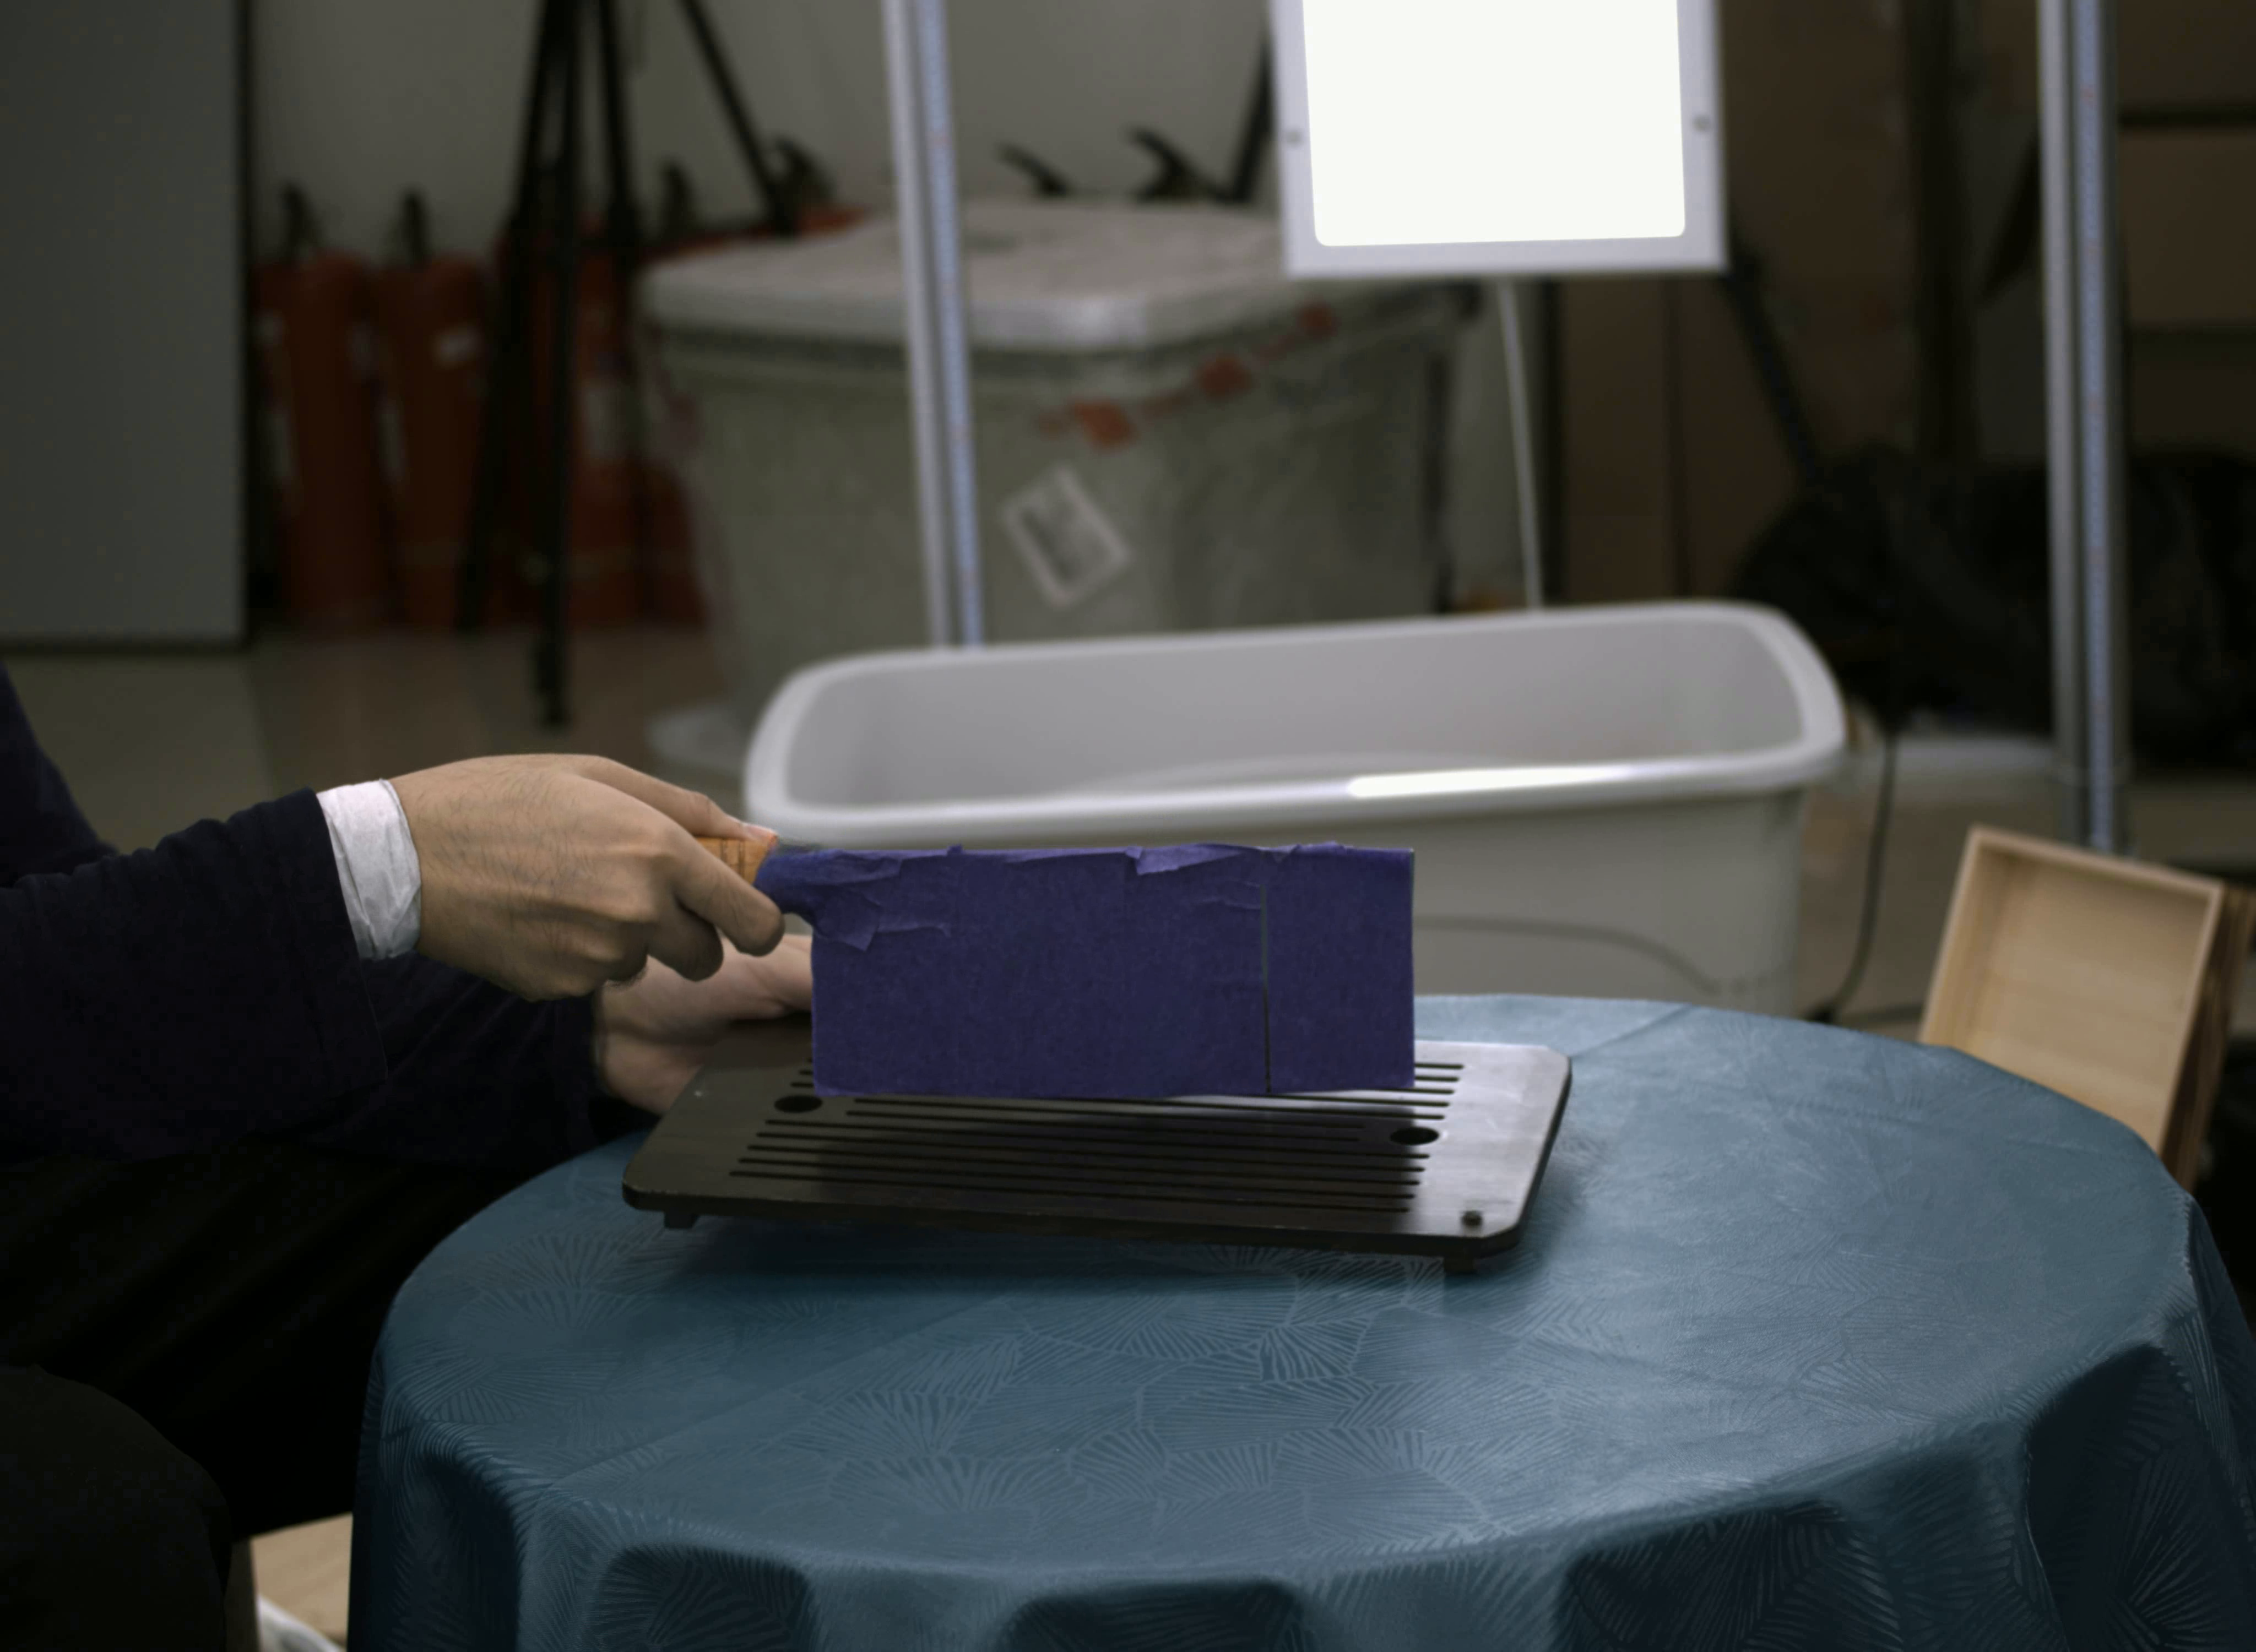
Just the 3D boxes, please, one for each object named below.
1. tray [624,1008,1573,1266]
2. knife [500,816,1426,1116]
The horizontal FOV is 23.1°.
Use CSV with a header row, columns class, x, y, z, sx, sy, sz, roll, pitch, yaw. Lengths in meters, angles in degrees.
class,x,y,z,sx,sy,sz,roll,pitch,yaw
tray,-0.007,0.106,1.888,0.308,0.019,0.168,1,20,14
knife,-0.055,0.049,1.872,0.315,0.104,0.032,-1,18,3
